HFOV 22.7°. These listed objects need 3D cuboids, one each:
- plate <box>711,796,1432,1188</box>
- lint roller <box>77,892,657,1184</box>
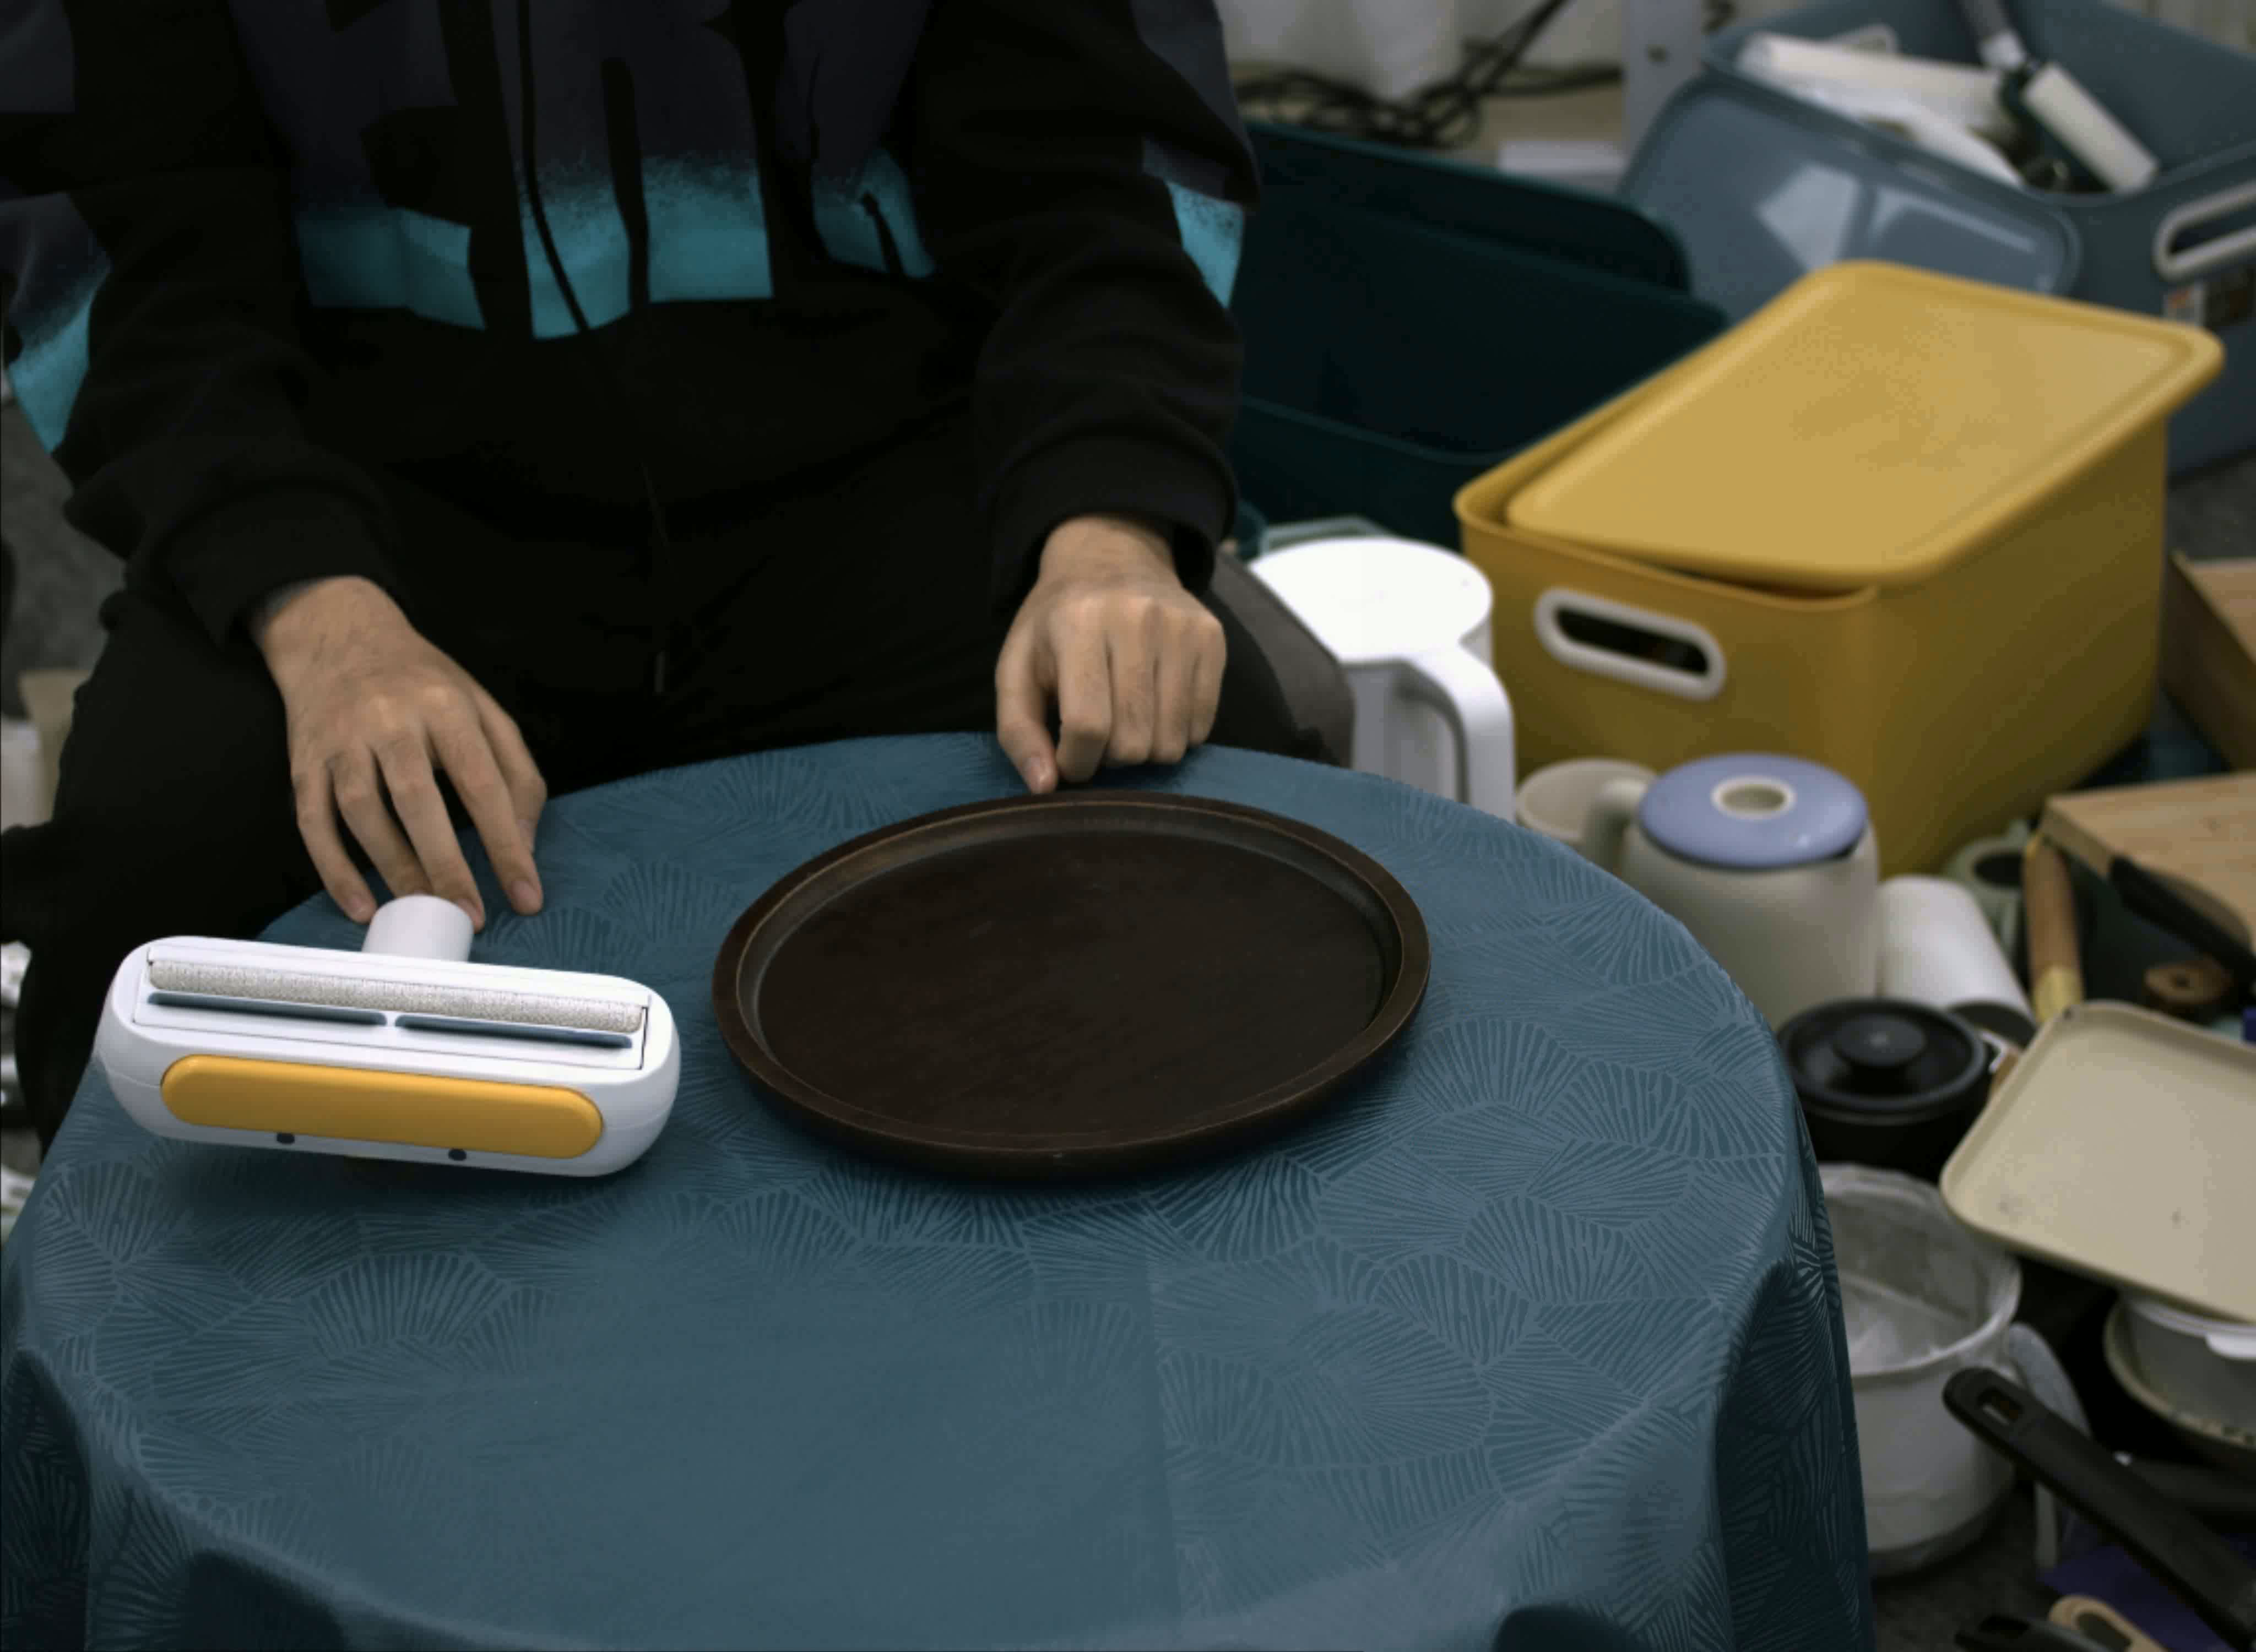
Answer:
[{"bbox_3d":[-0.020,0.056,1.964,0.253,0.029,0.258,-2,26,2],"label":"plate"},{"bbox_3d":[-0.252,0.058,1.935,0.192,0.073,0.195,3,26,1],"label":"lint roller"}]
